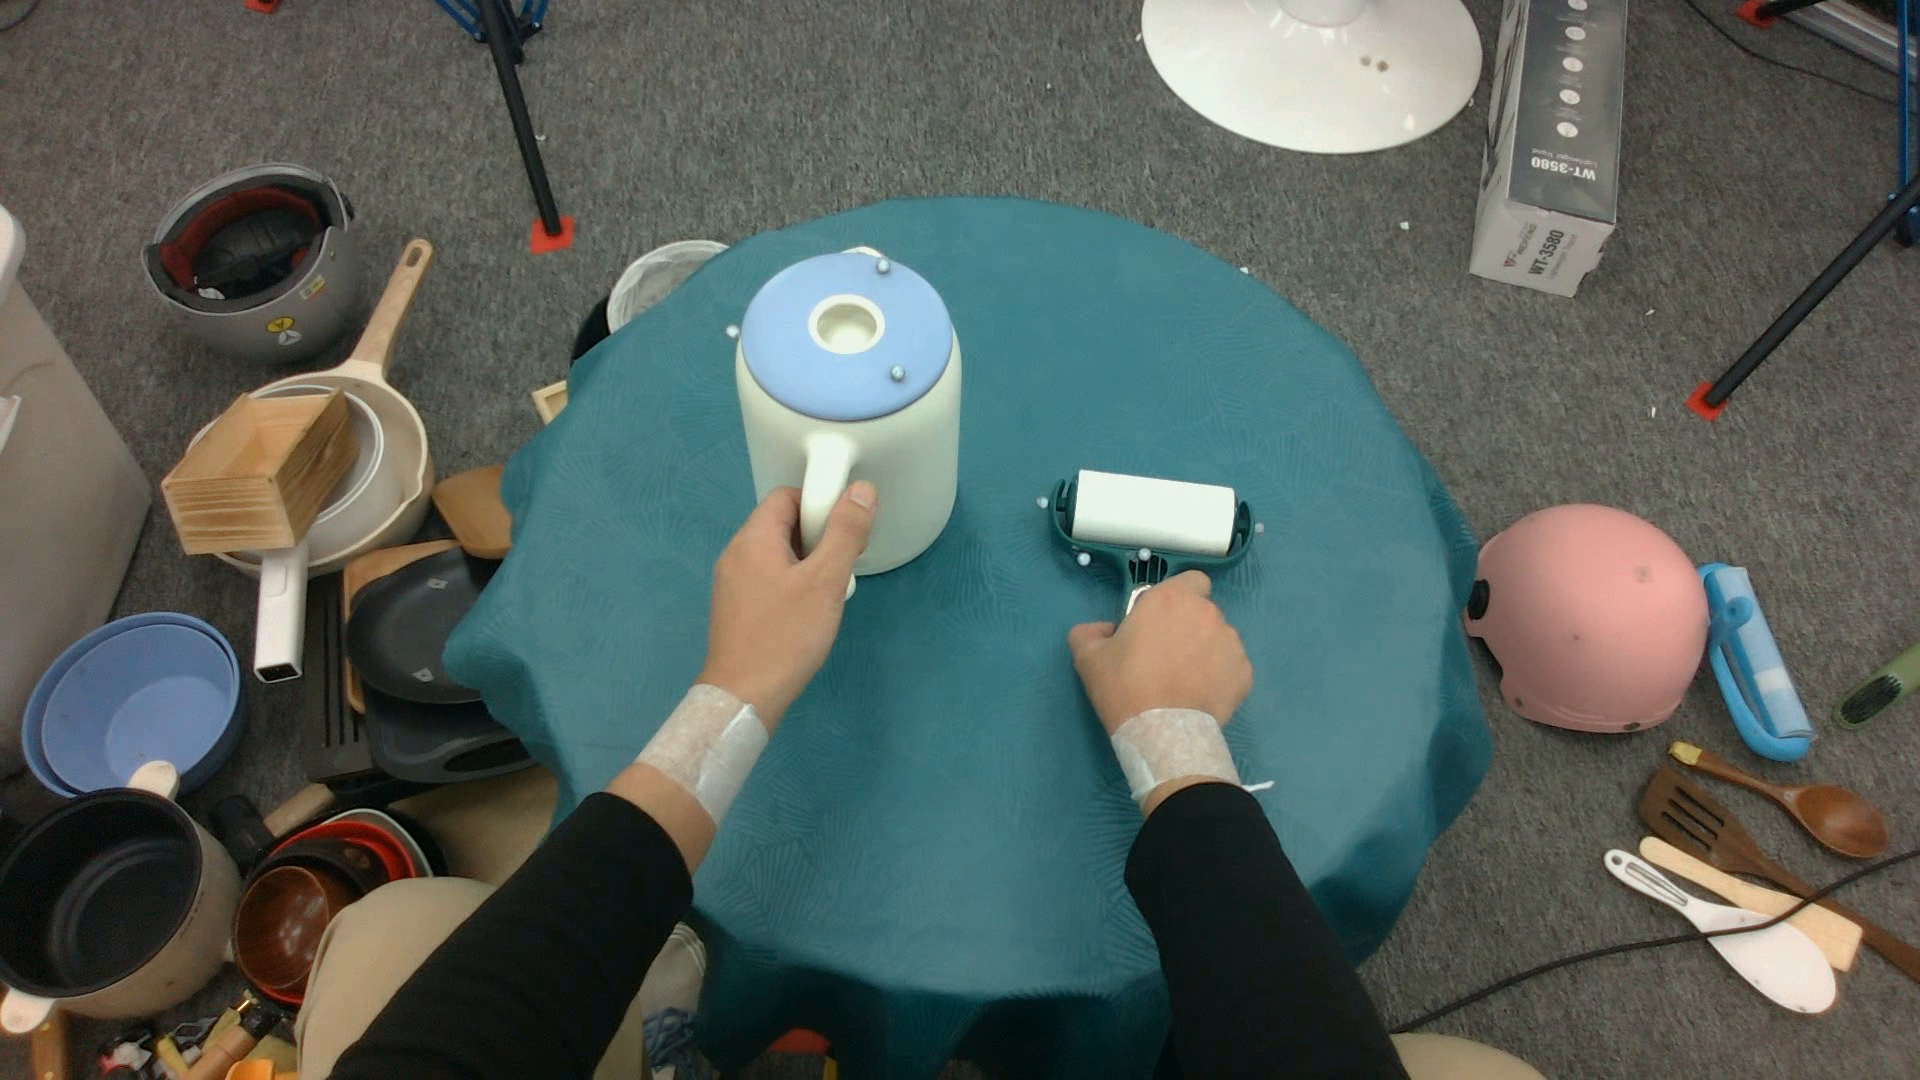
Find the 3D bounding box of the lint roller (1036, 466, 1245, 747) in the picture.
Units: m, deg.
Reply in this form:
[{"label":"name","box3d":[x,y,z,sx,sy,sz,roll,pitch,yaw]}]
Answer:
[{"label":"lint roller","box3d":[0.110,0.035,0.845,0.134,0.048,0.181,5,57,0]}]

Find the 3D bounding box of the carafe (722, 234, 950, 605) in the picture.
[{"label":"carafe","box3d":[-0.075,-0.058,0.824,0.132,0.182,0.192,5,61,1]}]
